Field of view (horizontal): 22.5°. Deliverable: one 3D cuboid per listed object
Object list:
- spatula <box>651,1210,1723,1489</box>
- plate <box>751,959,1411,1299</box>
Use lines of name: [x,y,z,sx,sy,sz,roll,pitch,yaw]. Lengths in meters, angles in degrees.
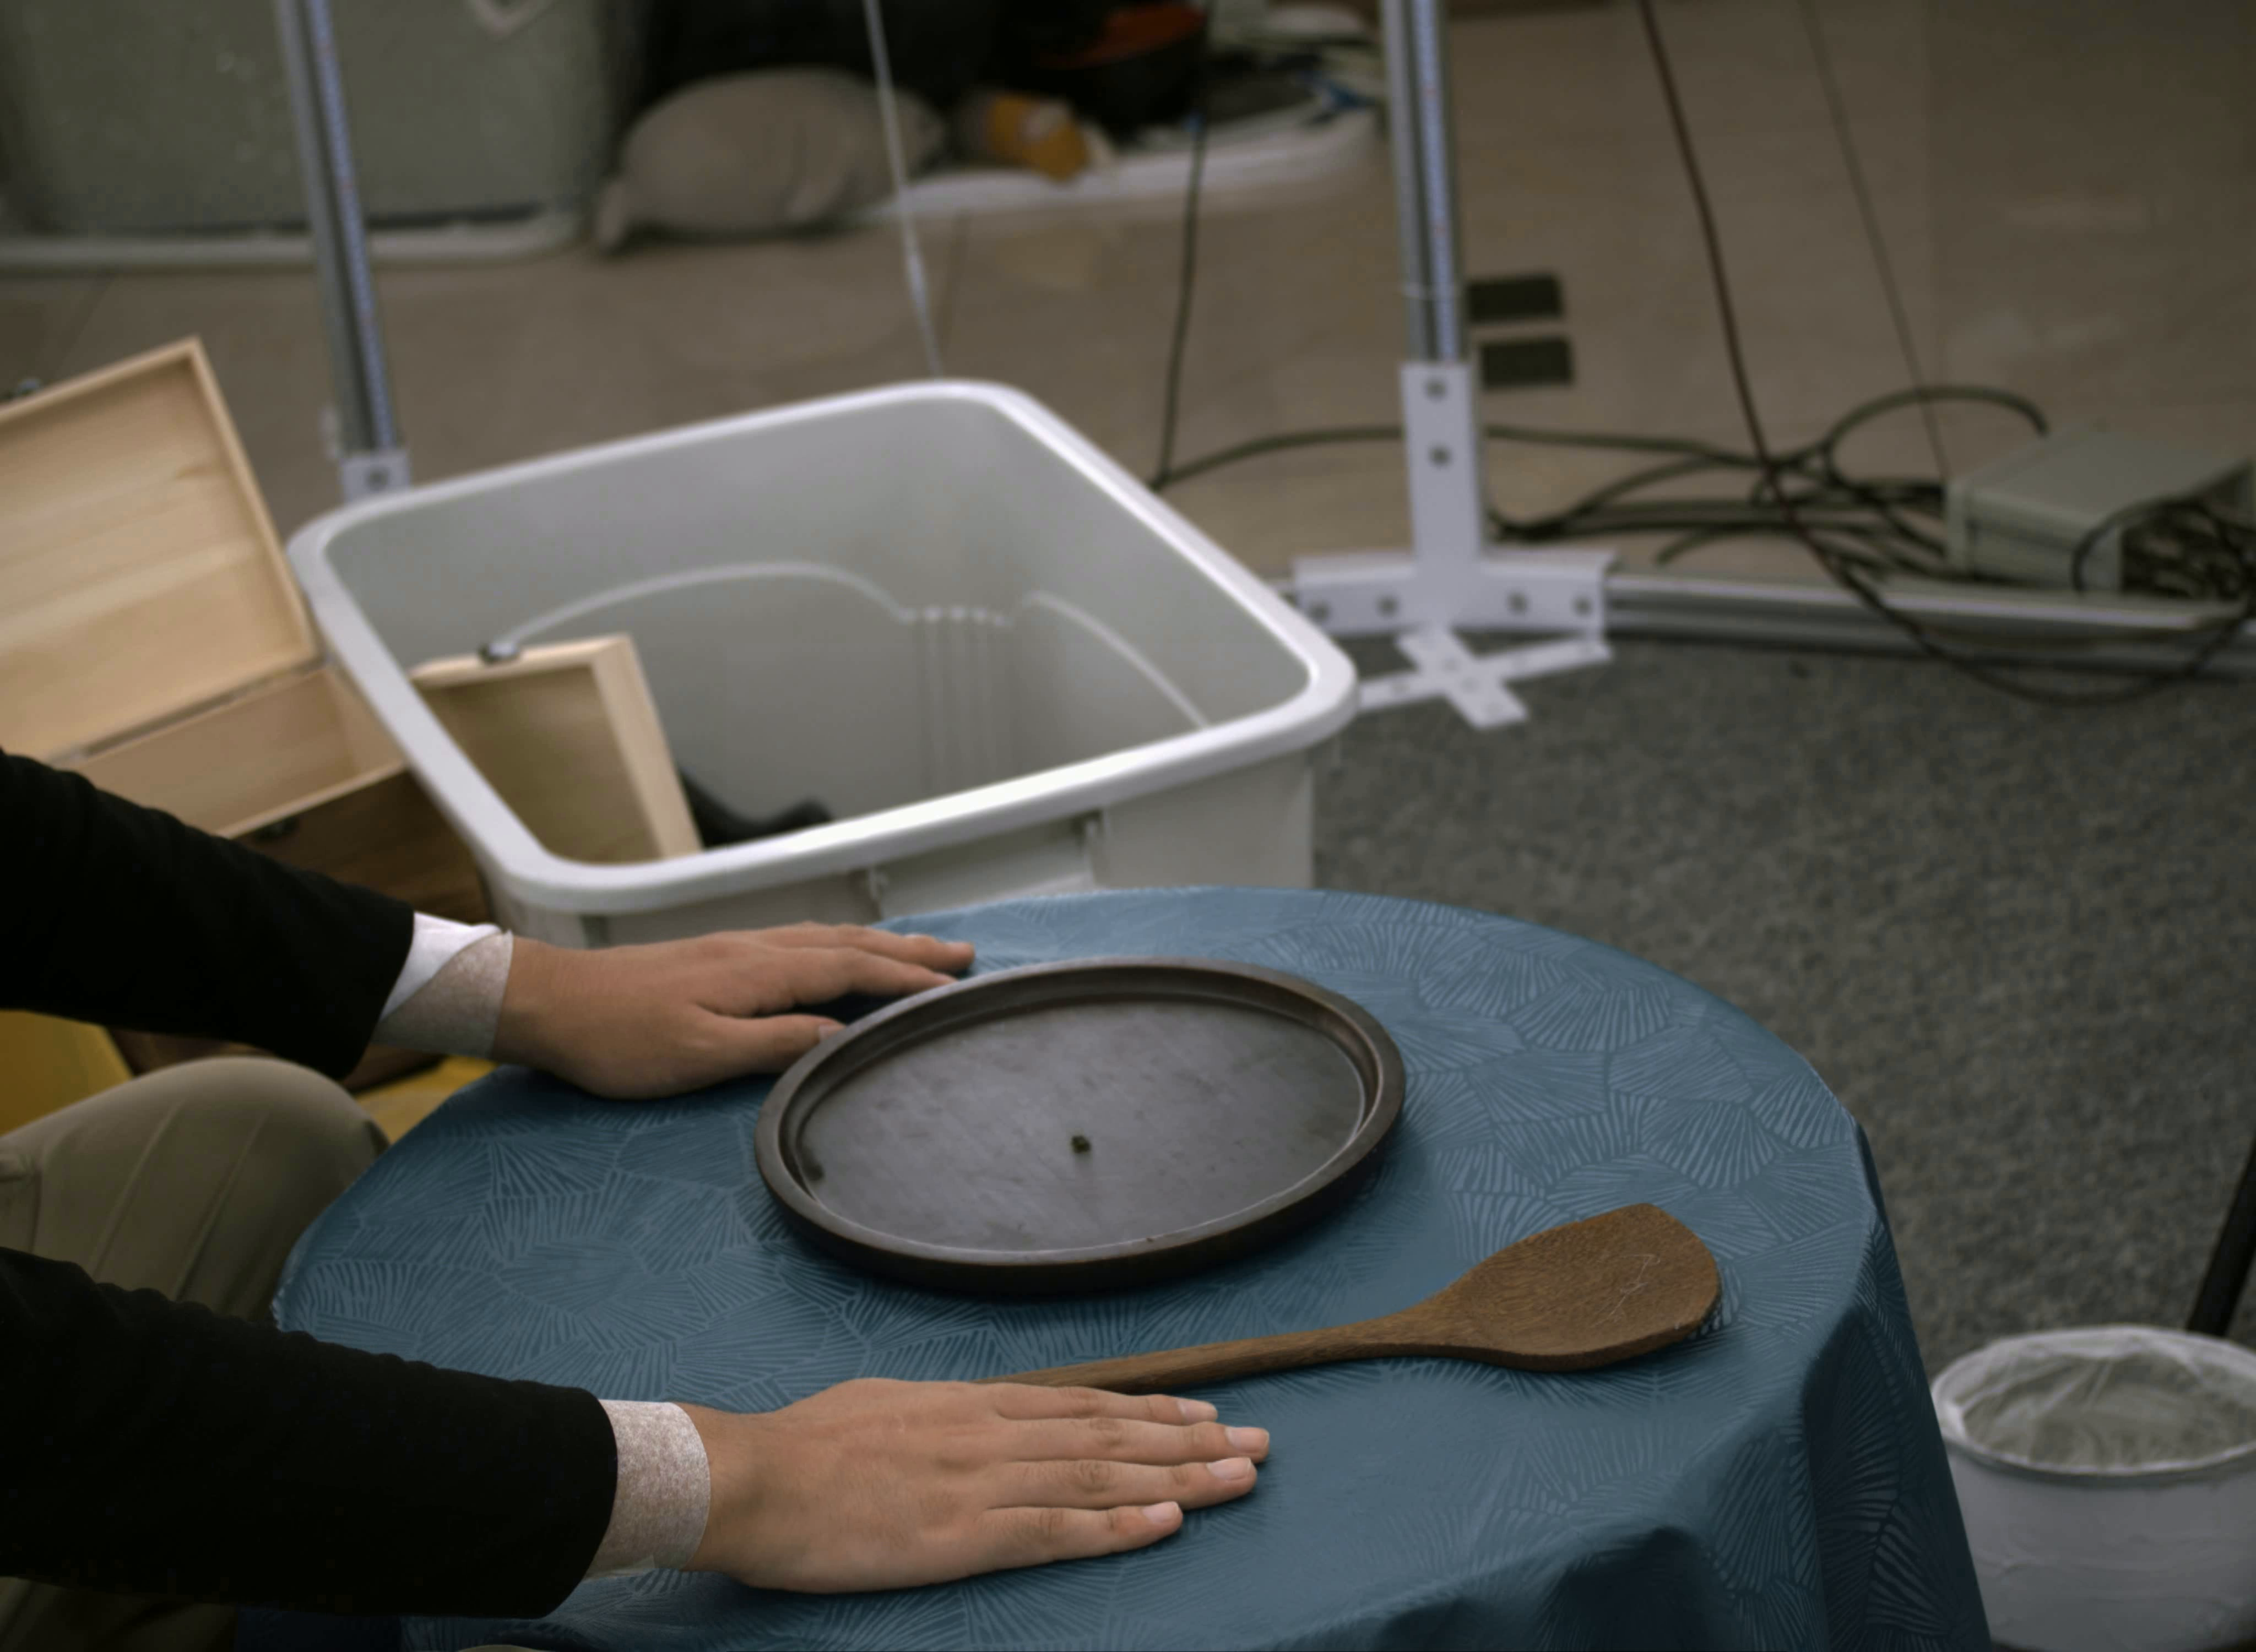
spatula: [0.021,0.192,2.013,0.385,0.016,0.095,-10,25,-6]
plate: [-0.017,0.114,2.177,0.254,0.029,0.251,-4,26,2]
